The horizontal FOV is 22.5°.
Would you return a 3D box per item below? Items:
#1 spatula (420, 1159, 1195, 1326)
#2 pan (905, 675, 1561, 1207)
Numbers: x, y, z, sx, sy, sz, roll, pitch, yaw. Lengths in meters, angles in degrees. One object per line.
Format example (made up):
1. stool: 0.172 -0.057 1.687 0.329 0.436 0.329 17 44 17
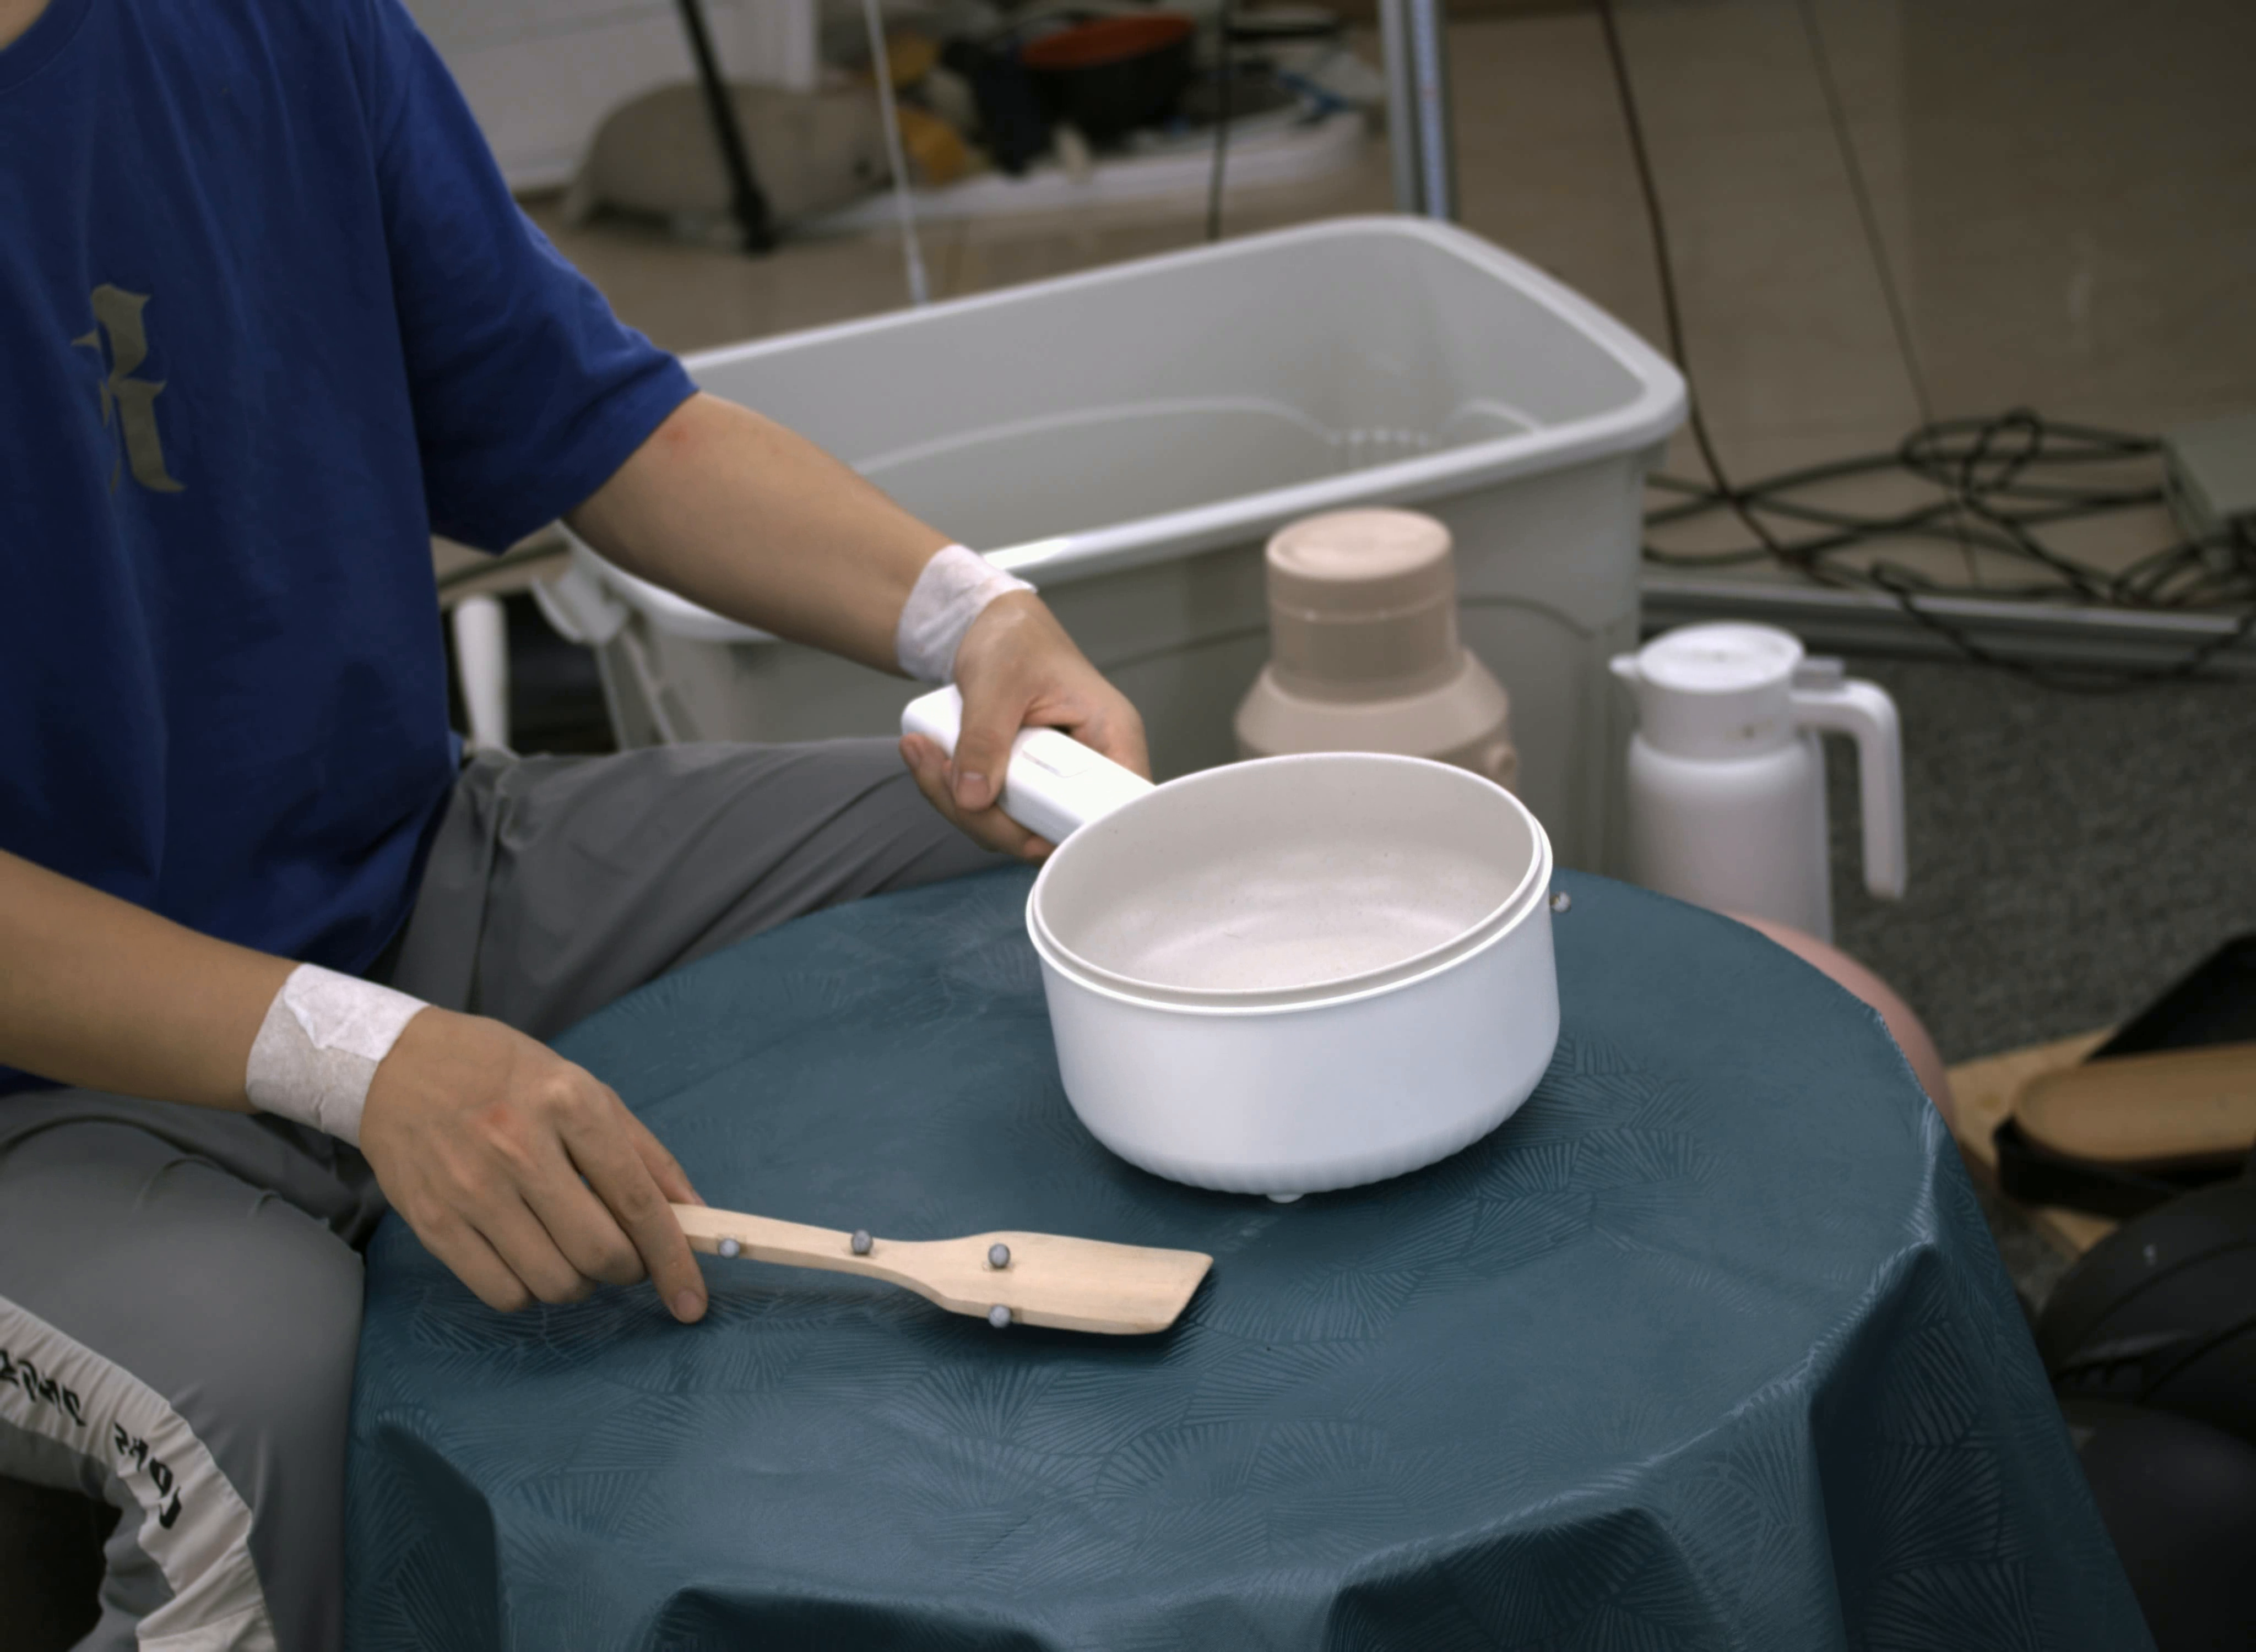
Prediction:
1. spatula: -0.123 0.150 2.091 0.292 0.011 0.071 7 21 13
2. pan: 0.024 0.038 2.231 0.200 0.104 0.351 -25 31 -26
